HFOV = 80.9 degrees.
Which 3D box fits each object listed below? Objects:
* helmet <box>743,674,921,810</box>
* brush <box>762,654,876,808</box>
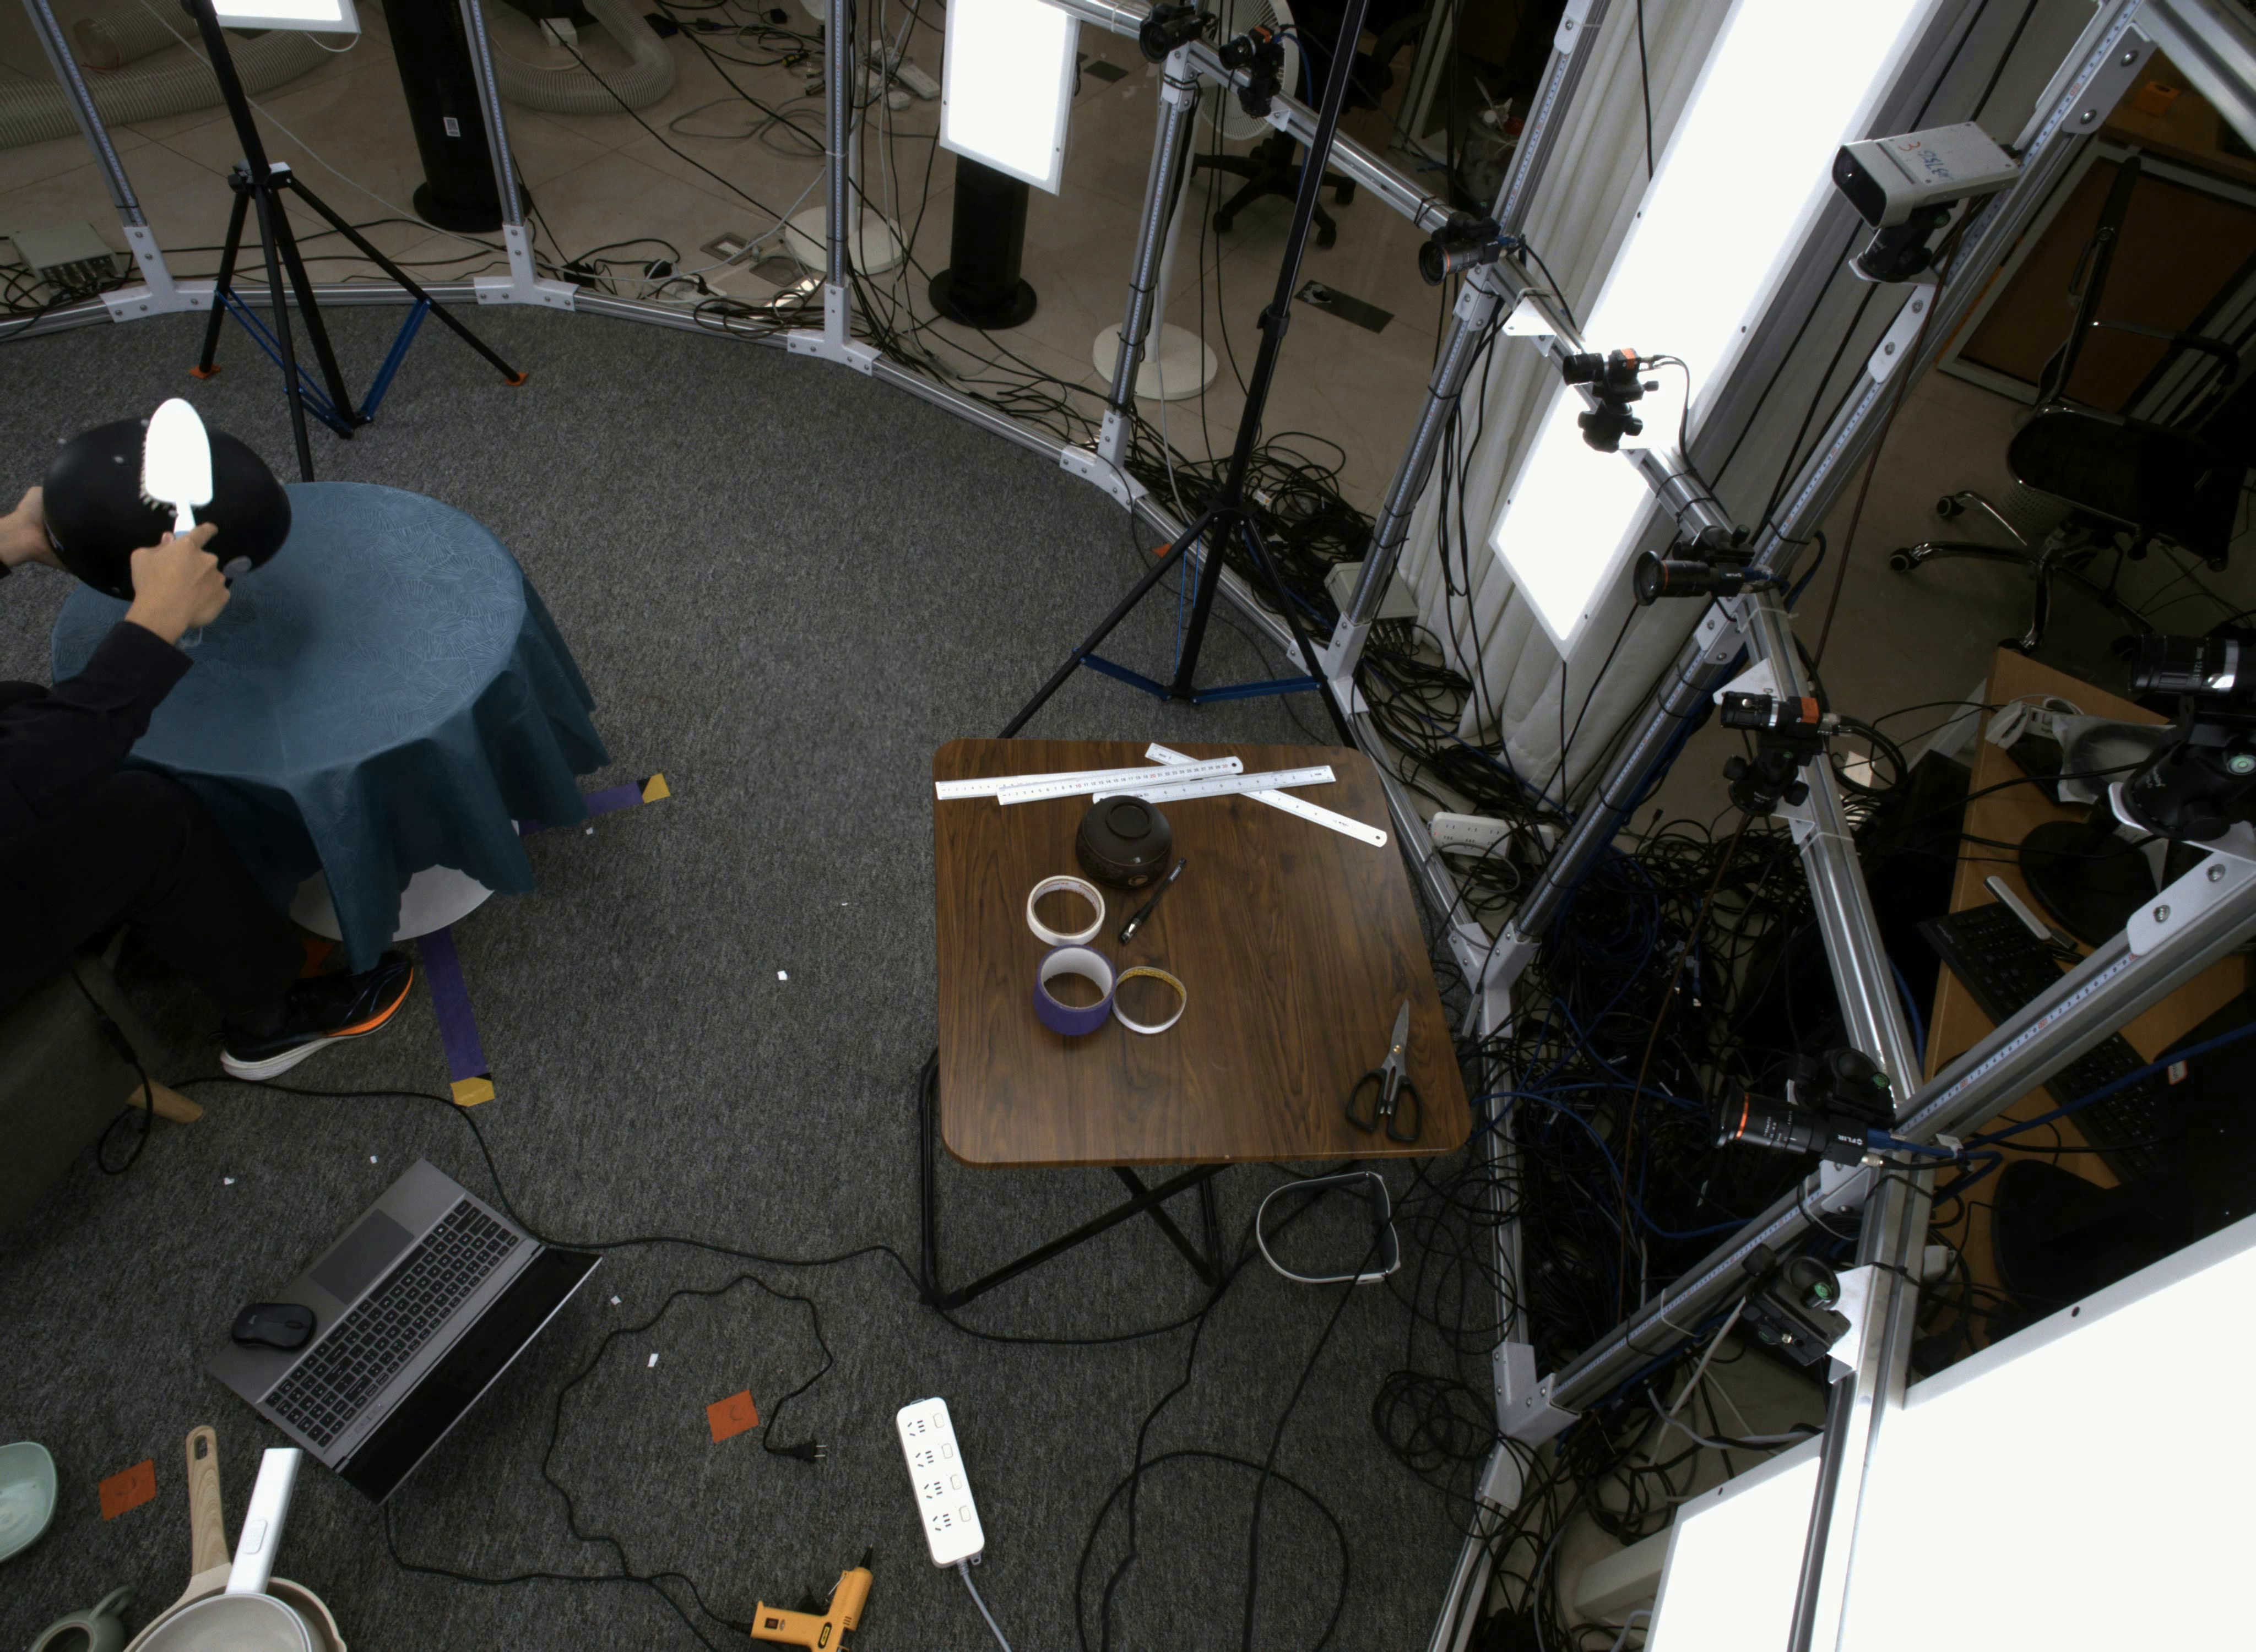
[{"bbox_3d":[-0.460,-0.142,1.998,0.272,0.171,0.225,1,45,-7],"label":"helmet"},{"bbox_3d":[-0.448,-0.125,1.850,0.081,0.088,0.322,3,45,21],"label":"brush"}]
